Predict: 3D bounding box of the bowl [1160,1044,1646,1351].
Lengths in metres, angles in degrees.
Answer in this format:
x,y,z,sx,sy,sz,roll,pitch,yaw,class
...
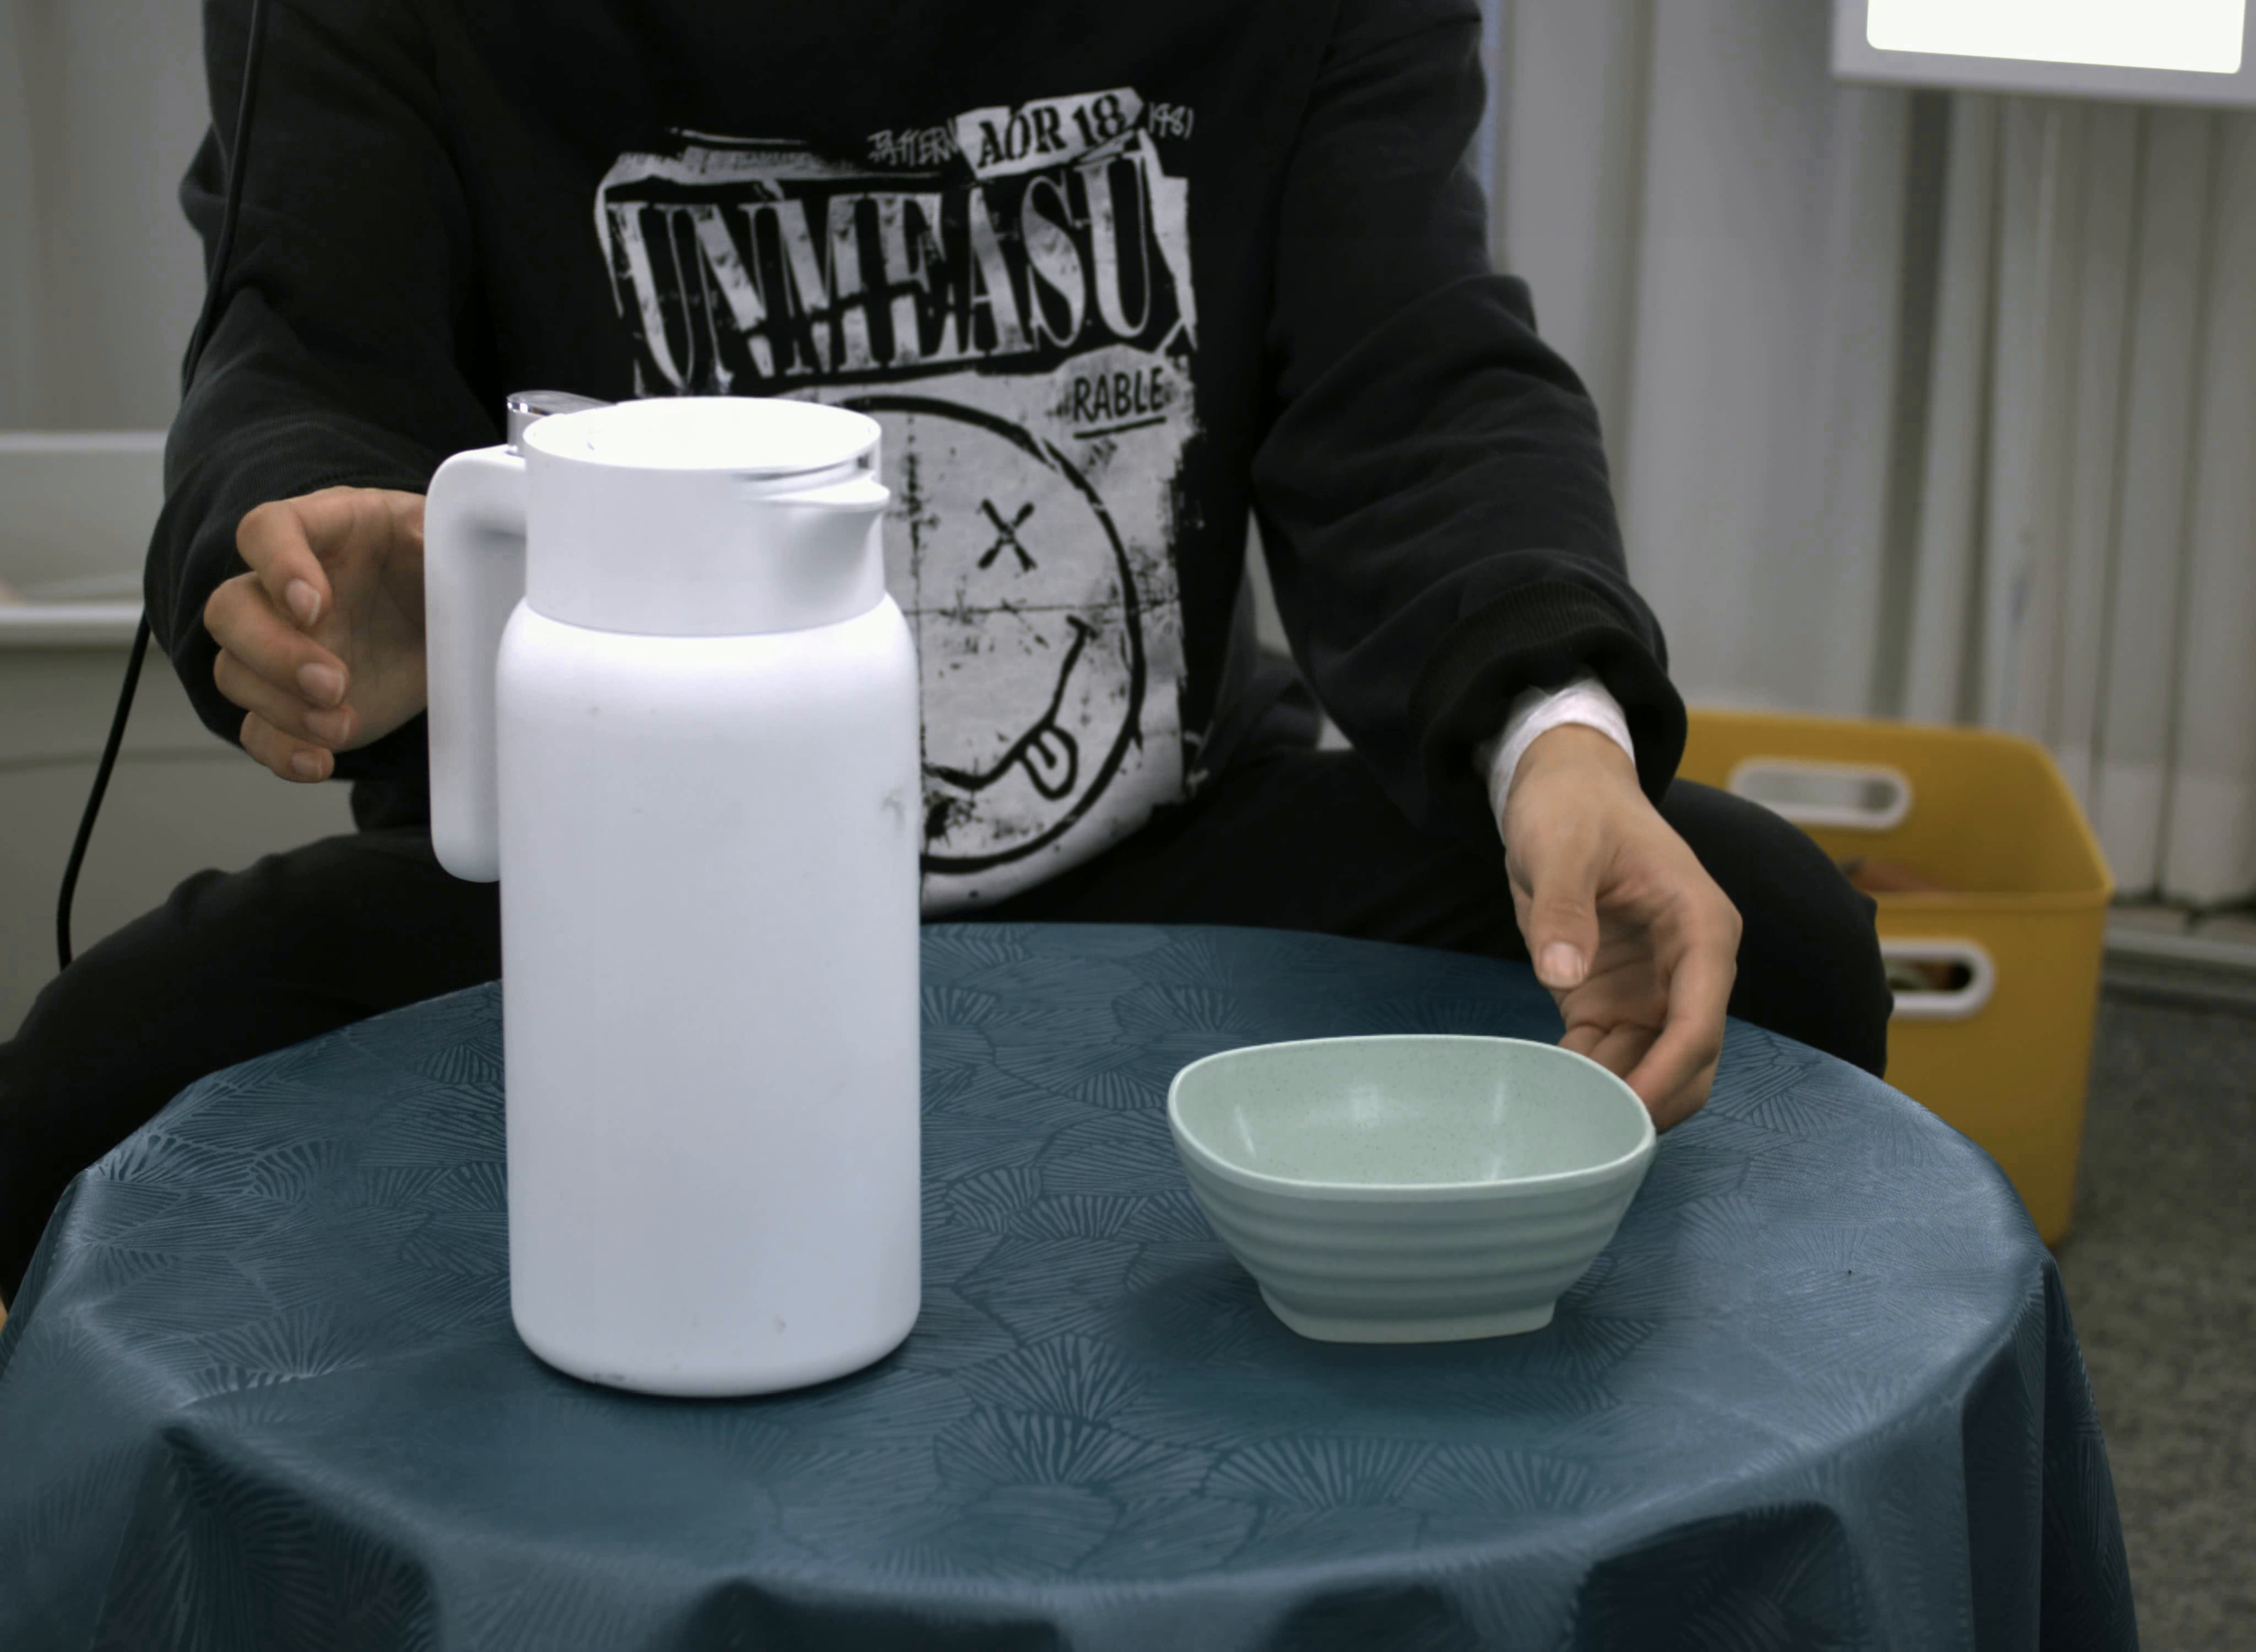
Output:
x,y,z,sx,sy,sz,roll,pitch,yaw,class
0.079,0.111,1.532,0.151,0.059,0.150,1,15,0,bowl

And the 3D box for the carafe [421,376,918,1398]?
x,y,z,sx,sy,sz,roll,pitch,yaw,class
-0.131,0.014,1.473,0.170,0.271,0.124,14,23,39,carafe
